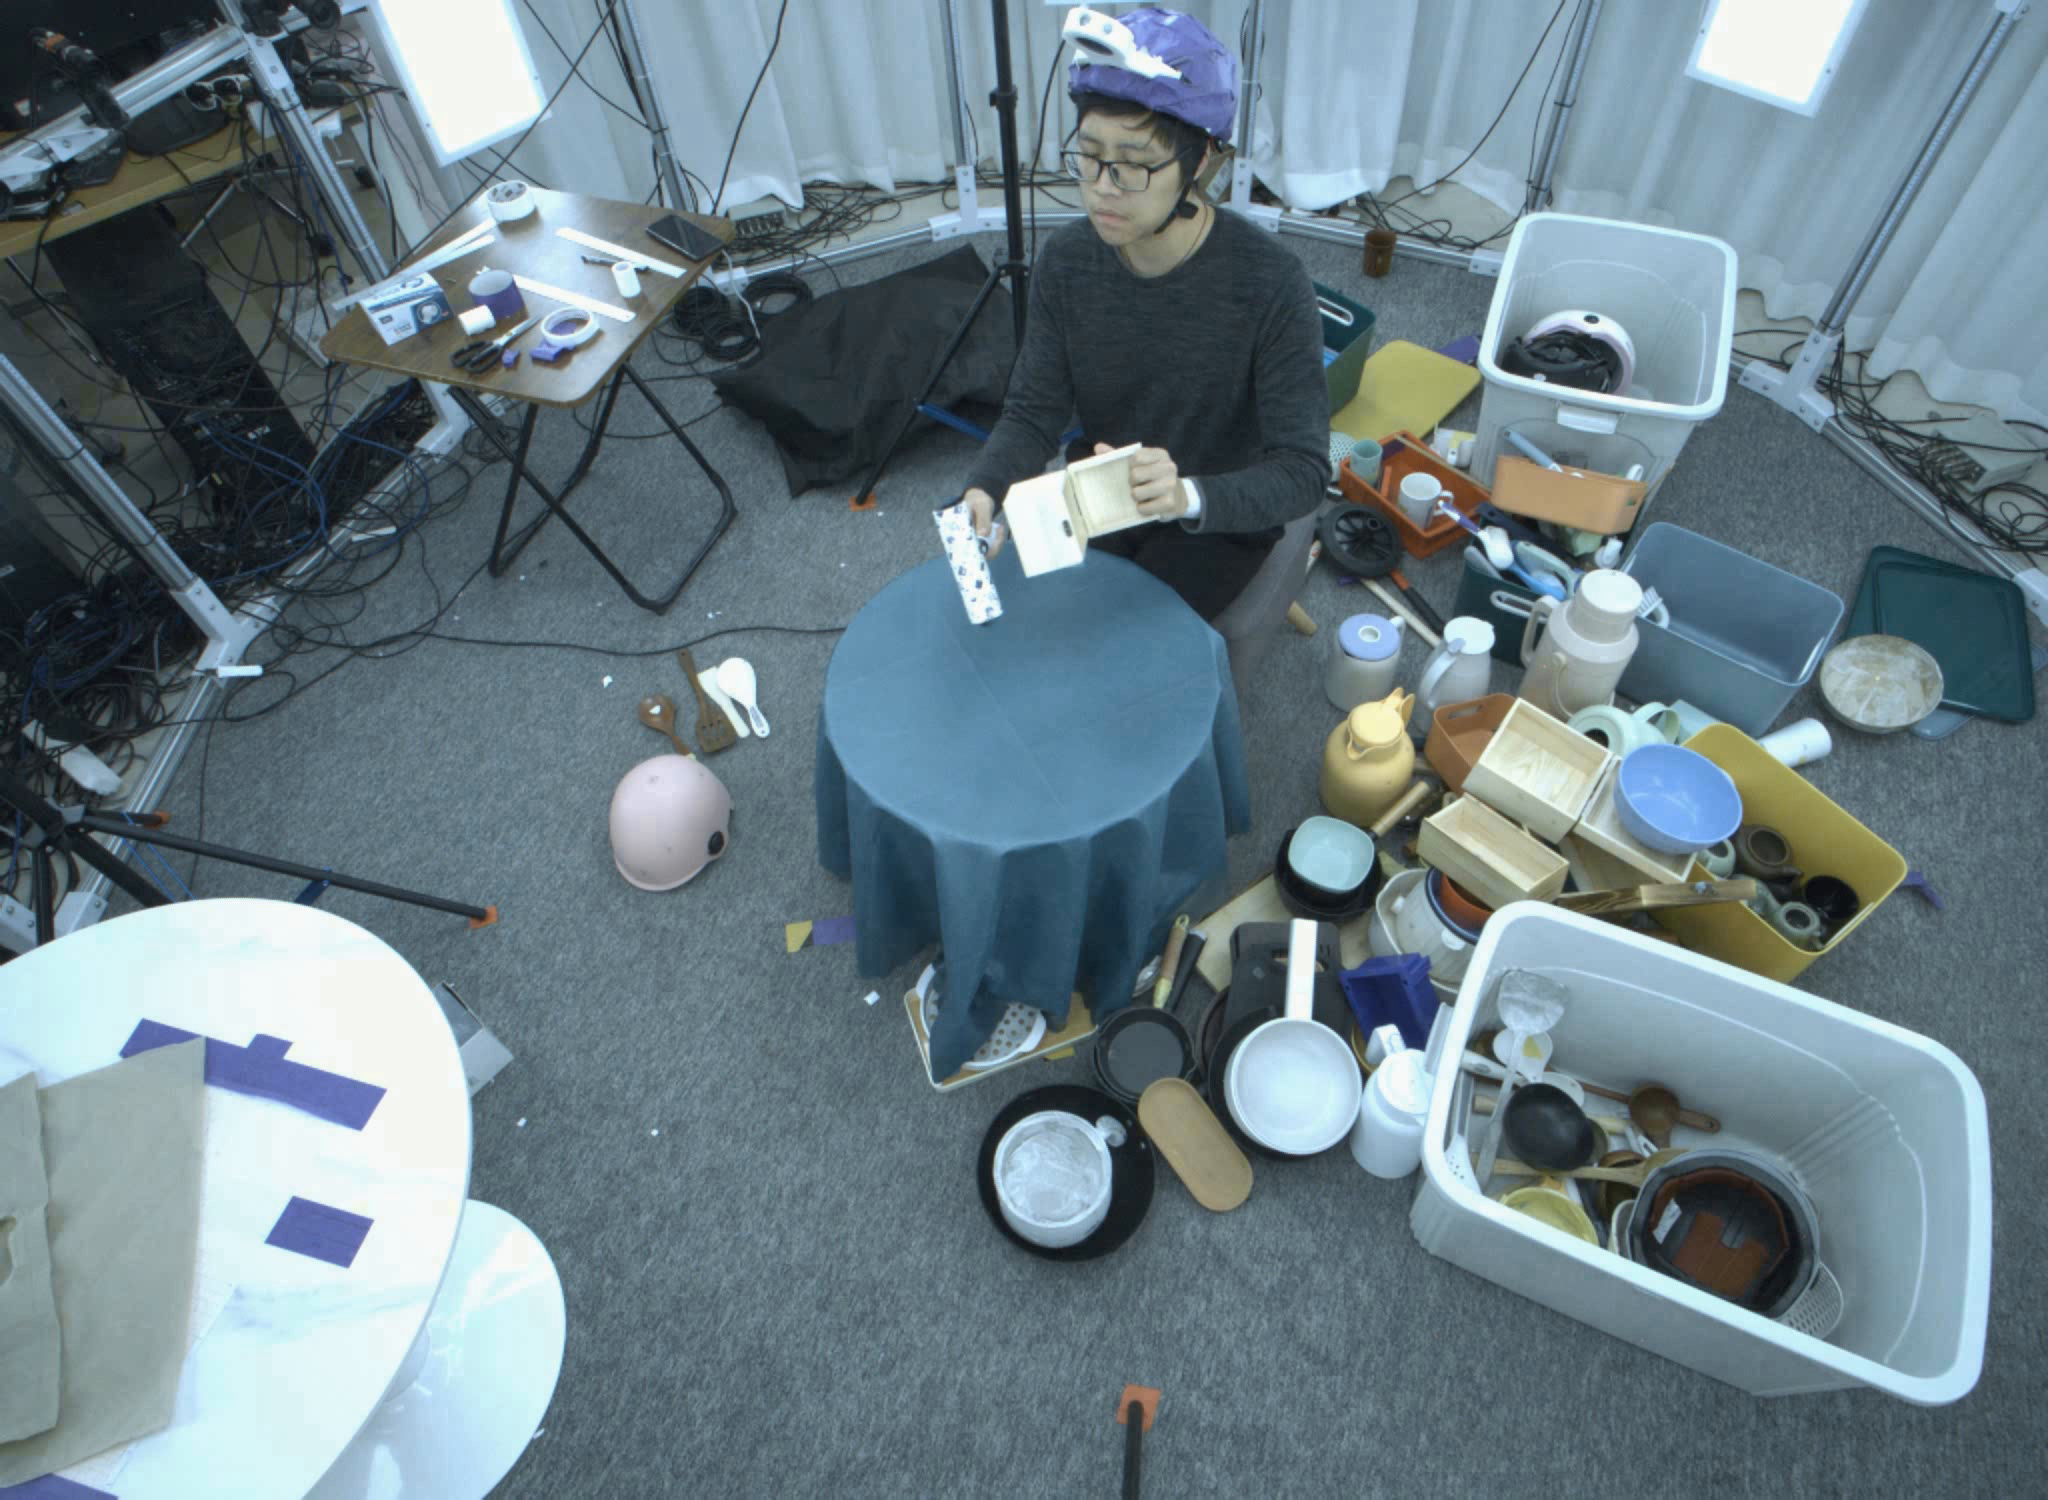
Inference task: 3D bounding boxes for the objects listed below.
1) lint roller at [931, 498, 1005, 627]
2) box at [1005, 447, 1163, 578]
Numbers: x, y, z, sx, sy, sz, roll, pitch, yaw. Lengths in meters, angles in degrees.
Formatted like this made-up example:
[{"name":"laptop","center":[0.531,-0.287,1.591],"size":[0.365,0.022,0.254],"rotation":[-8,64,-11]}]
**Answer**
[{"name":"lint roller","center":[-0.065,-0.287,1.745],"size":[0.050,0.178,0.246],"rotation":[-17,19,12]},{"name":"box","center":[0.081,-0.311,1.595],"size":[0.183,0.104,0.133],"rotation":[-14,25,11]}]
